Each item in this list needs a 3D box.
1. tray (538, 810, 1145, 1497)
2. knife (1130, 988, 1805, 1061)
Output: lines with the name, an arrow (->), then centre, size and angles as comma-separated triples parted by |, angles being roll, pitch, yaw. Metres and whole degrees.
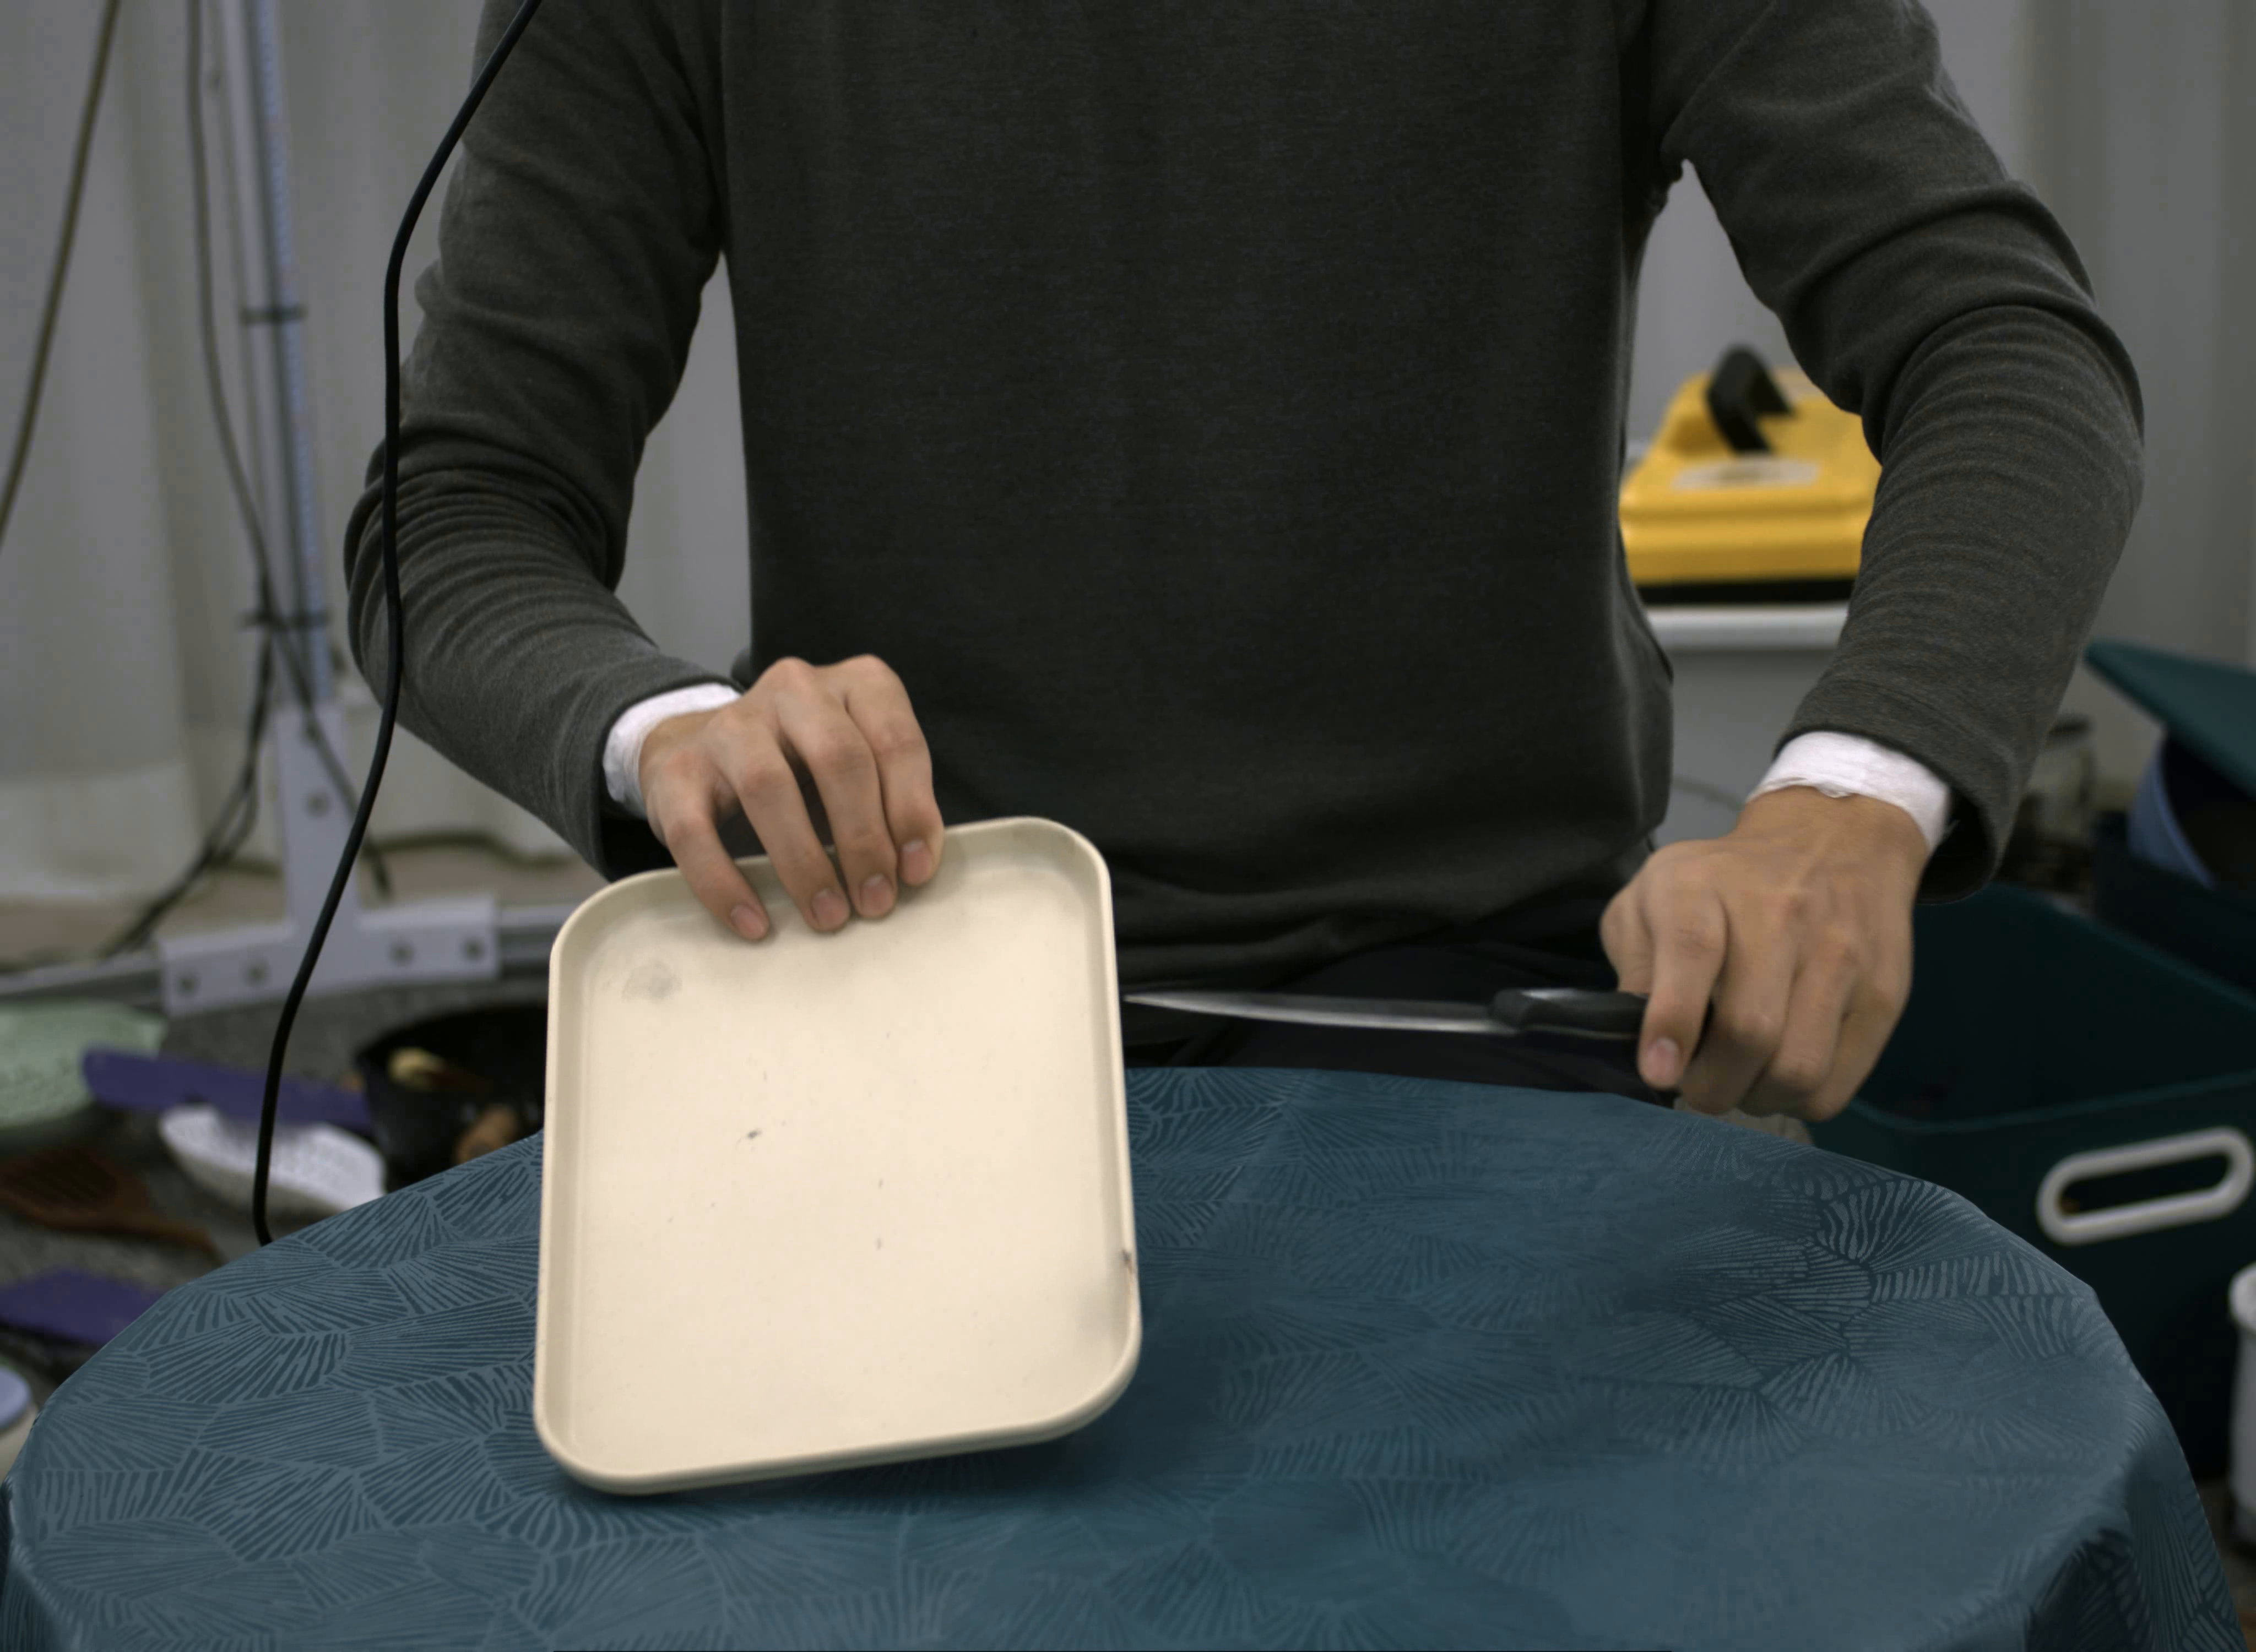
tray -> -0.083, 0.092, 1.565 | 0.171, 0.017, 0.243 | -9, 43, 4
knife -> 0.093, 0.052, 1.487 | 0.236, 0.016, 0.024 | 4, 15, -37
